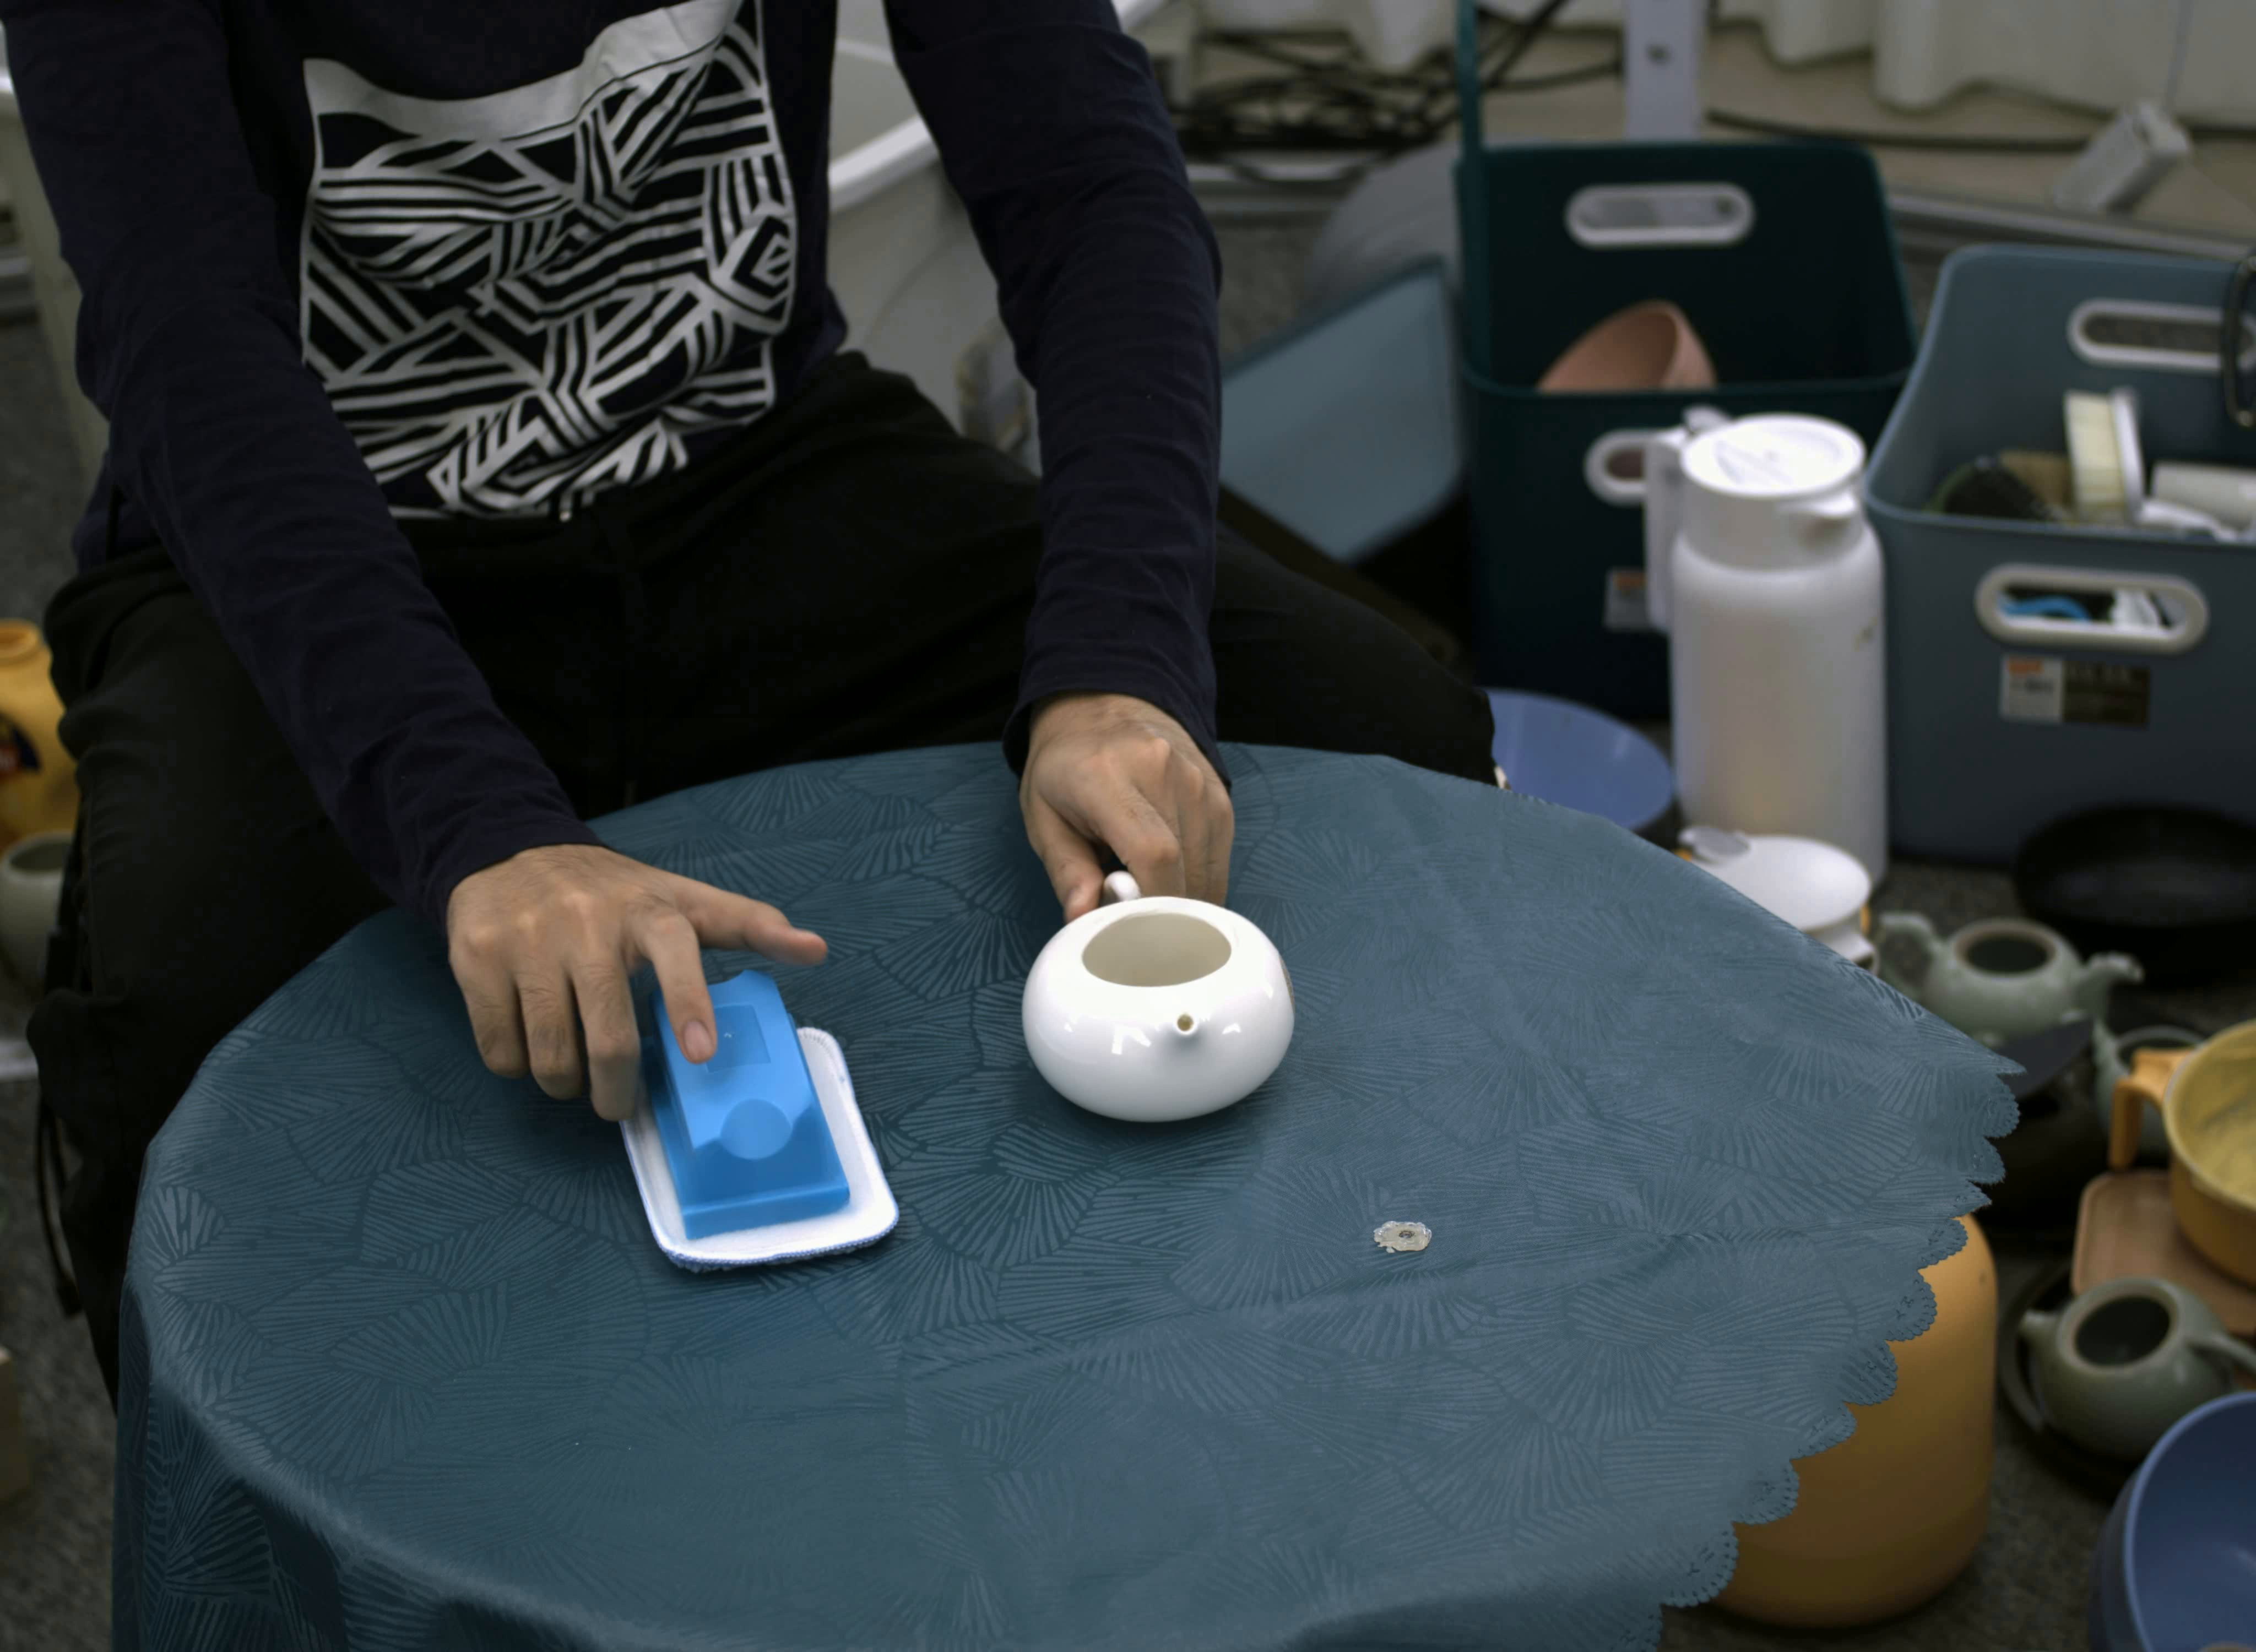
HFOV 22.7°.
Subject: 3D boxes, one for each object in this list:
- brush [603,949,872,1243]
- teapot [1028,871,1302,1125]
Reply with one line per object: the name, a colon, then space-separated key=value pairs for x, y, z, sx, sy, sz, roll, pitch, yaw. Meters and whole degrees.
brush: x=-0.130 y=0.086 z=1.877 sx=0.084 sy=0.055 sz=0.146 roll=-5 pitch=29 yaw=-9
teapot: x=0.009 y=0.058 z=1.920 sx=0.093 sy=0.056 sz=0.128 roll=-14 pitch=29 yaw=-13
